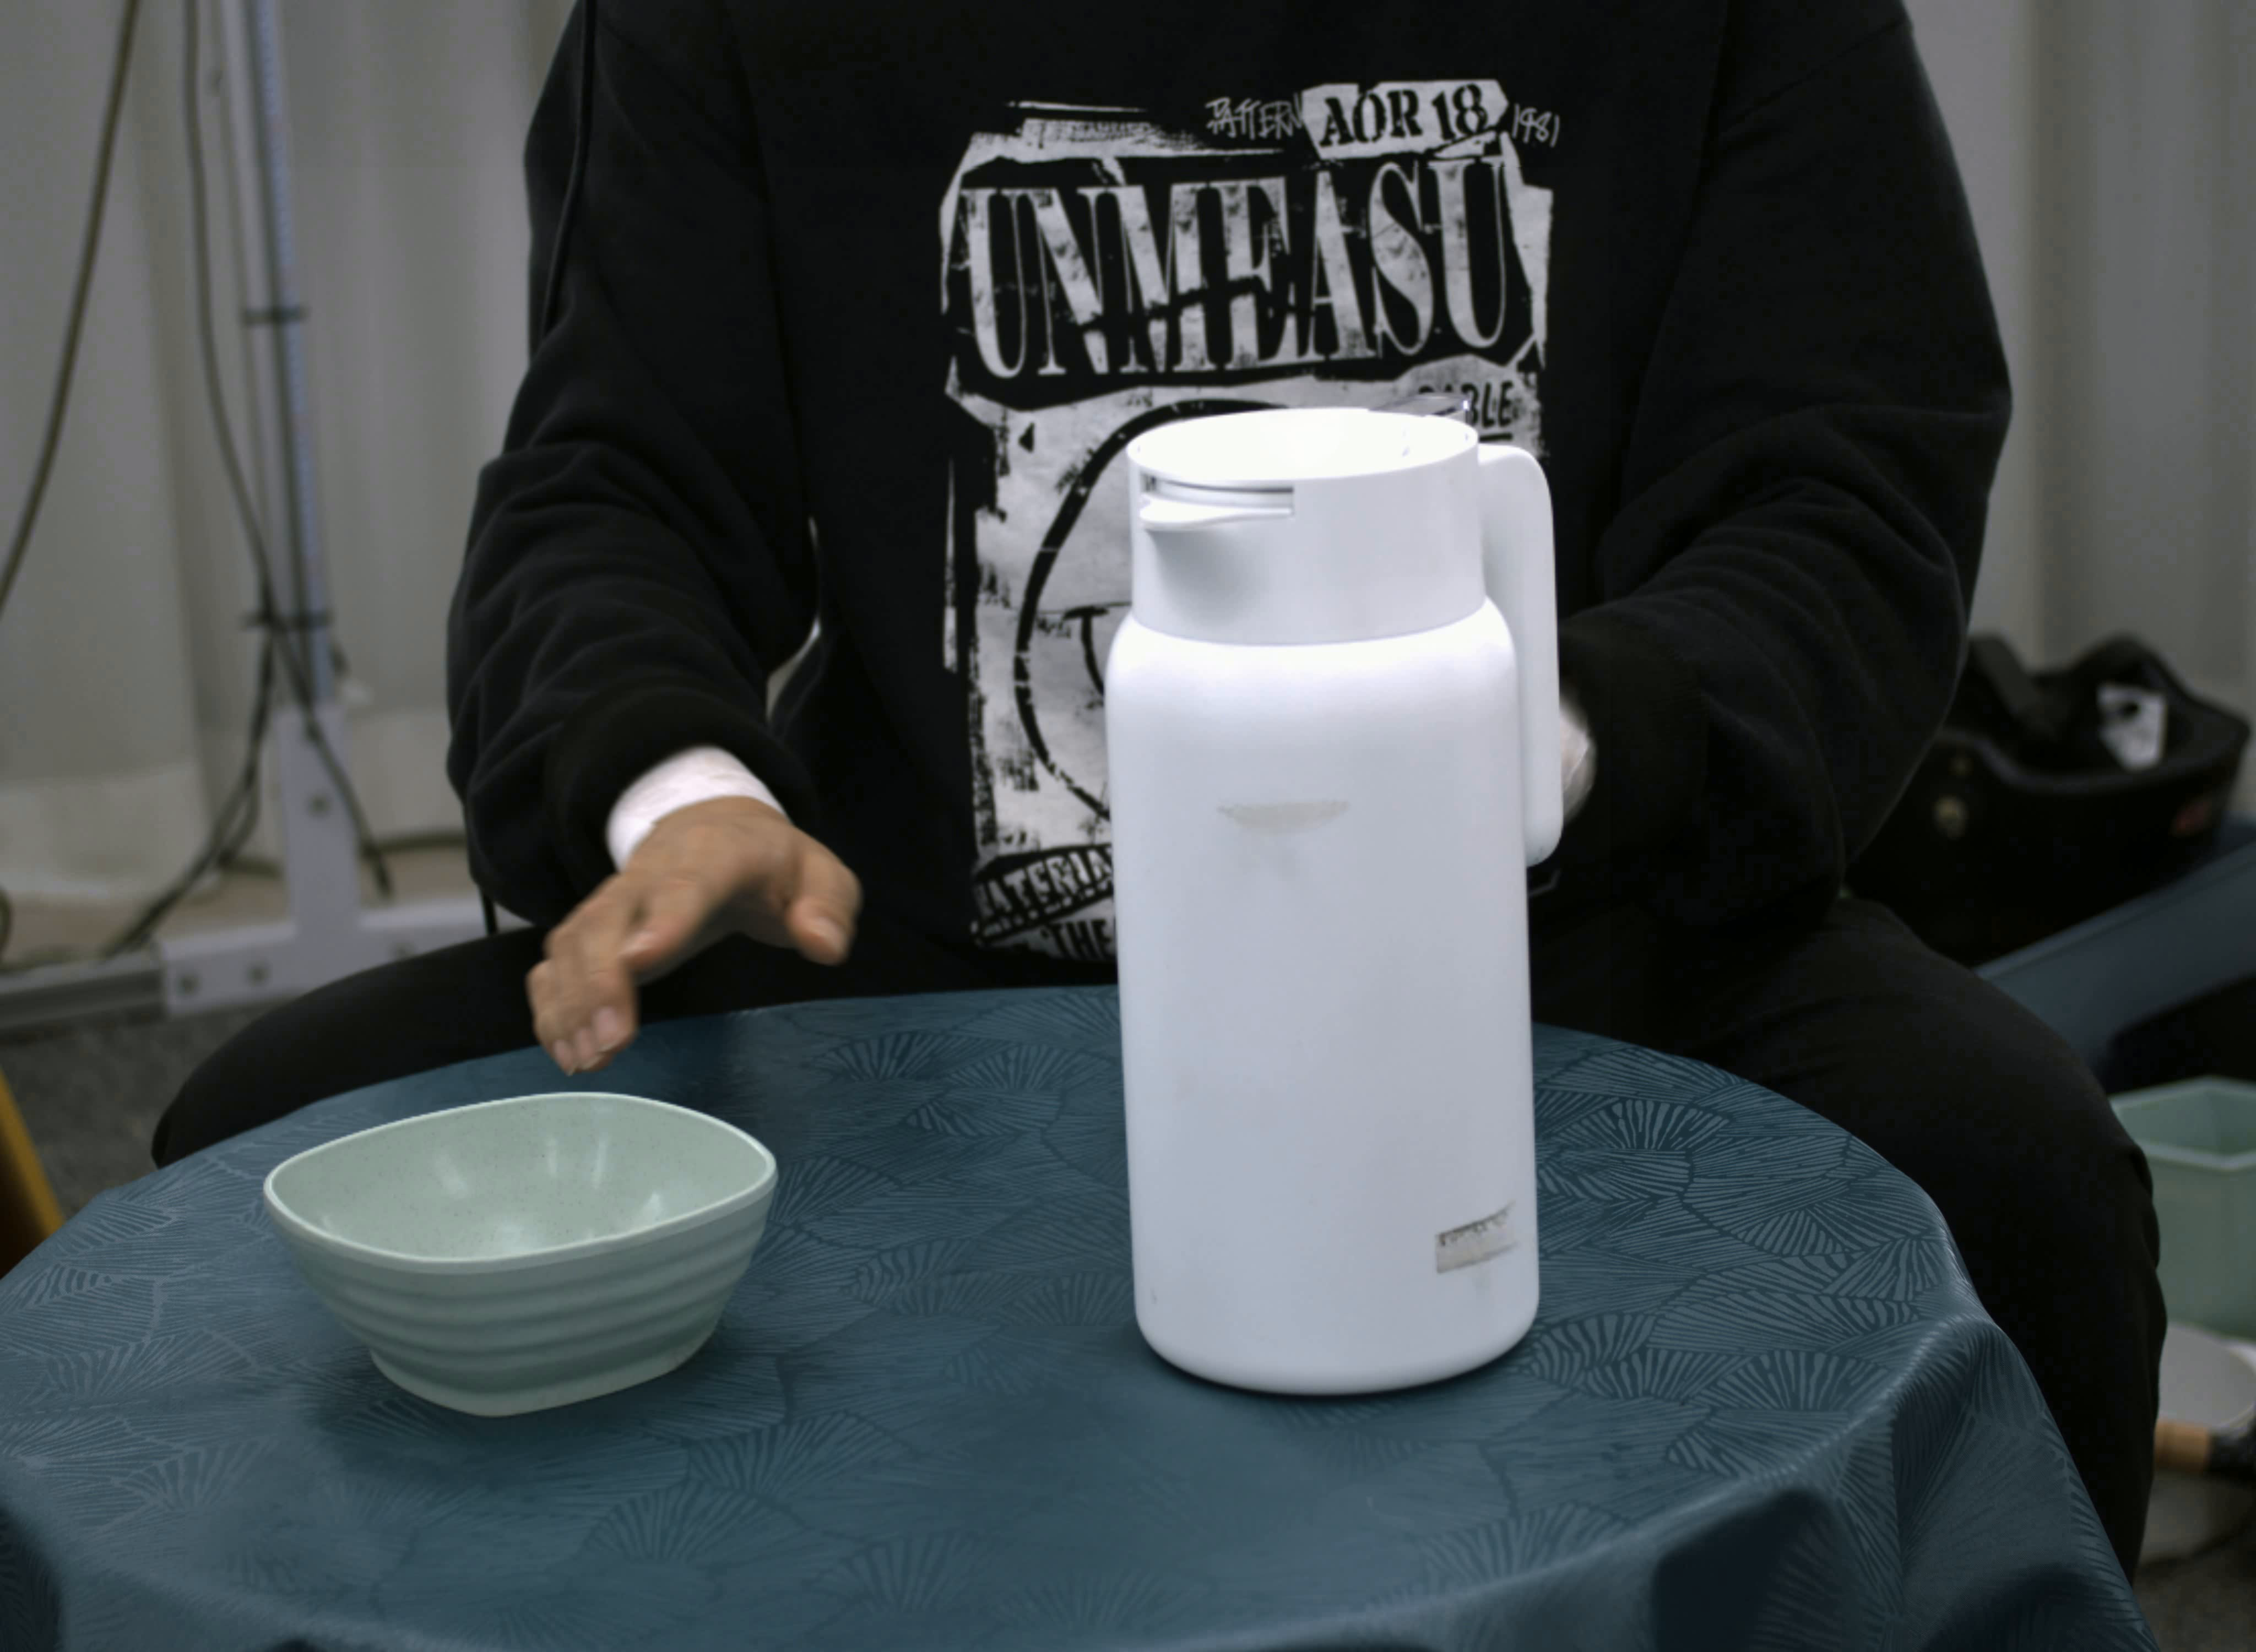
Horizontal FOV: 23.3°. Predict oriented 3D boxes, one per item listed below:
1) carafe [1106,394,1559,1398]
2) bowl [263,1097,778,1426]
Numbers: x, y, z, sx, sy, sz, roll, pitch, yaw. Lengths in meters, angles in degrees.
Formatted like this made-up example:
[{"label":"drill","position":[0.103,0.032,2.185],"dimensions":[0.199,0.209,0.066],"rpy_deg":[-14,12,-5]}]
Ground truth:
[{"label":"carafe","position":[0.064,0.015,1.561],"dimensions":[0.124,0.268,0.173],"rpy_deg":[5,16,36]},{"label":"bowl","position":[-0.175,0.130,1.590],"dimensions":[0.151,0.058,0.152],"rpy_deg":[-2,15,0]}]
